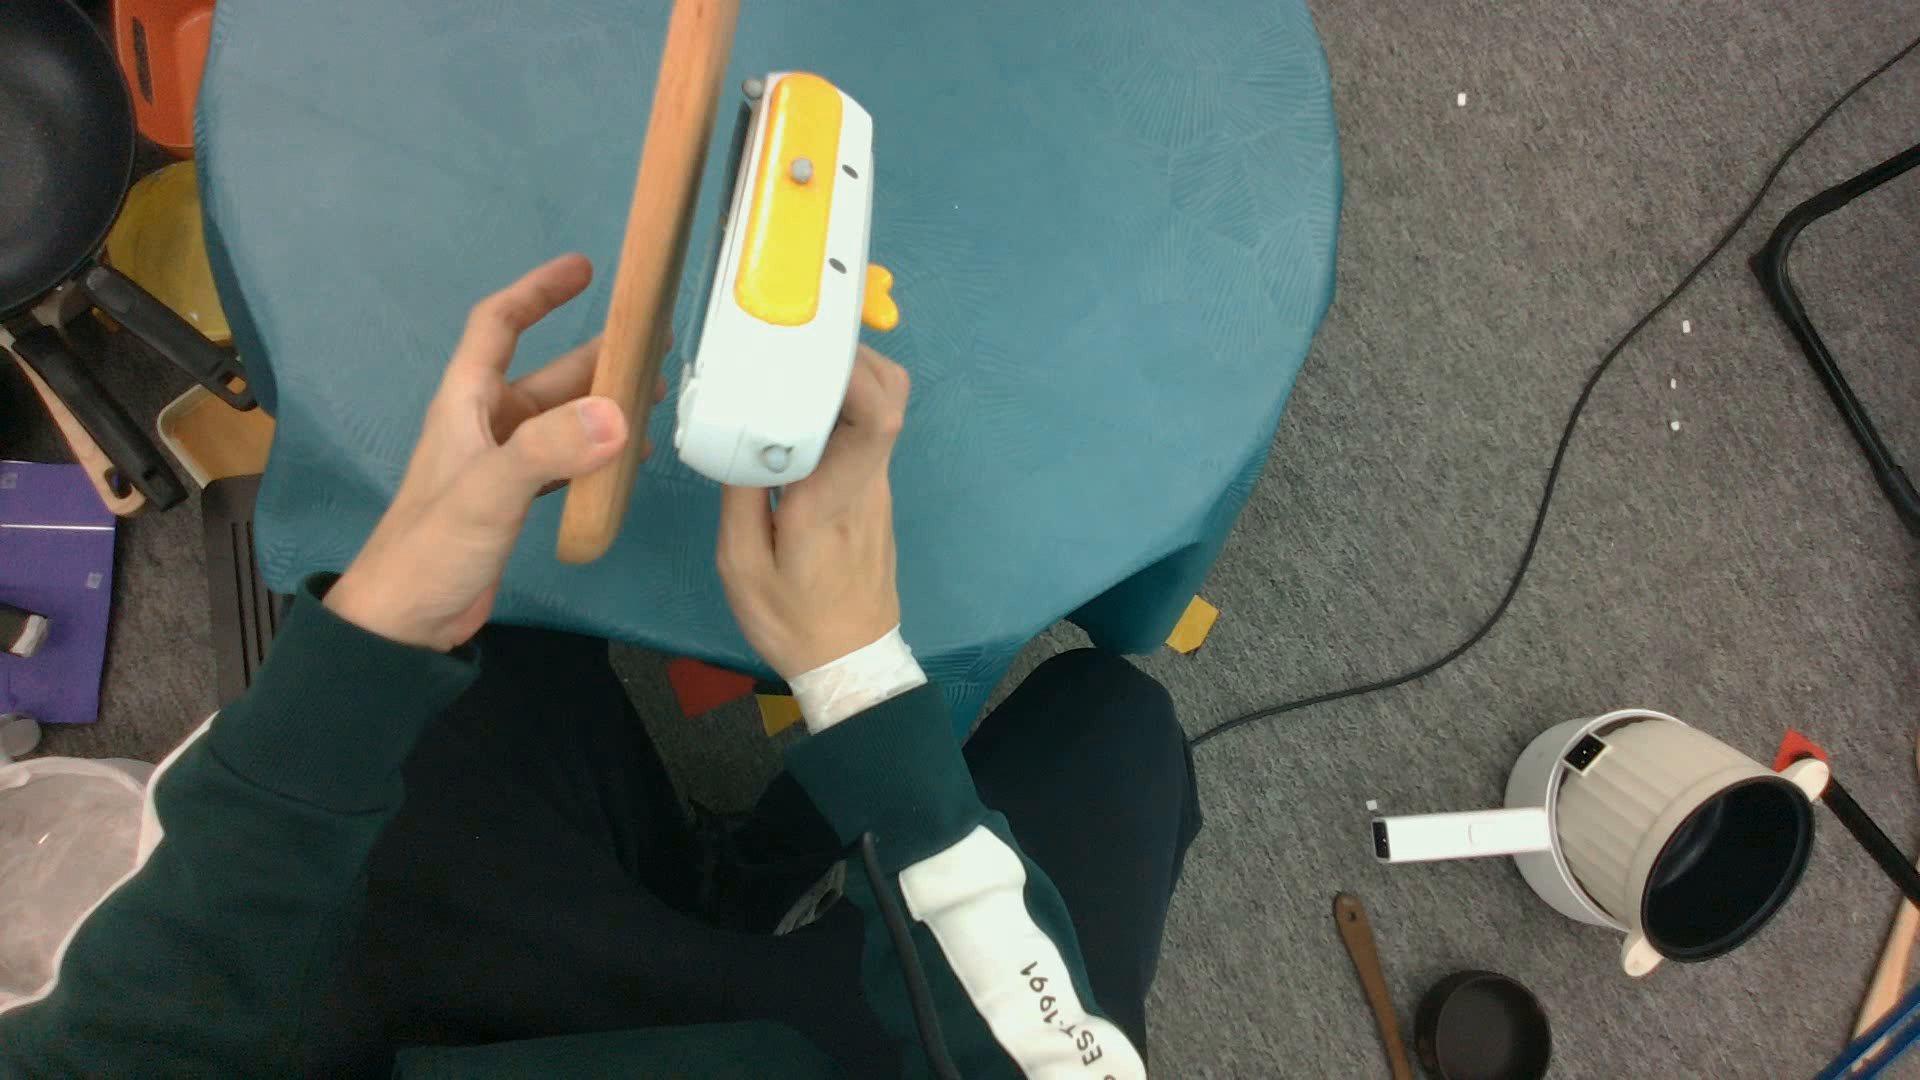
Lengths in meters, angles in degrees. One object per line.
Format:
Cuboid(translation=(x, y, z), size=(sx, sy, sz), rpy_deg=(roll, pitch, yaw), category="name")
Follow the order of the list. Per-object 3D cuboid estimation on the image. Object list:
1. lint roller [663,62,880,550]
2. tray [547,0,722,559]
Cuboid(translation=(-0.076, -0.064, 0.545), size=(0.074, 0.191, 0.193), rpy_deg=(4, 52, -12), category="lint roller")
Cuboid(translation=(-0.121, -0.118, 0.528), size=(0.023, 0.130, 0.250), rpy_deg=(12, 95, -10), category="tray")
